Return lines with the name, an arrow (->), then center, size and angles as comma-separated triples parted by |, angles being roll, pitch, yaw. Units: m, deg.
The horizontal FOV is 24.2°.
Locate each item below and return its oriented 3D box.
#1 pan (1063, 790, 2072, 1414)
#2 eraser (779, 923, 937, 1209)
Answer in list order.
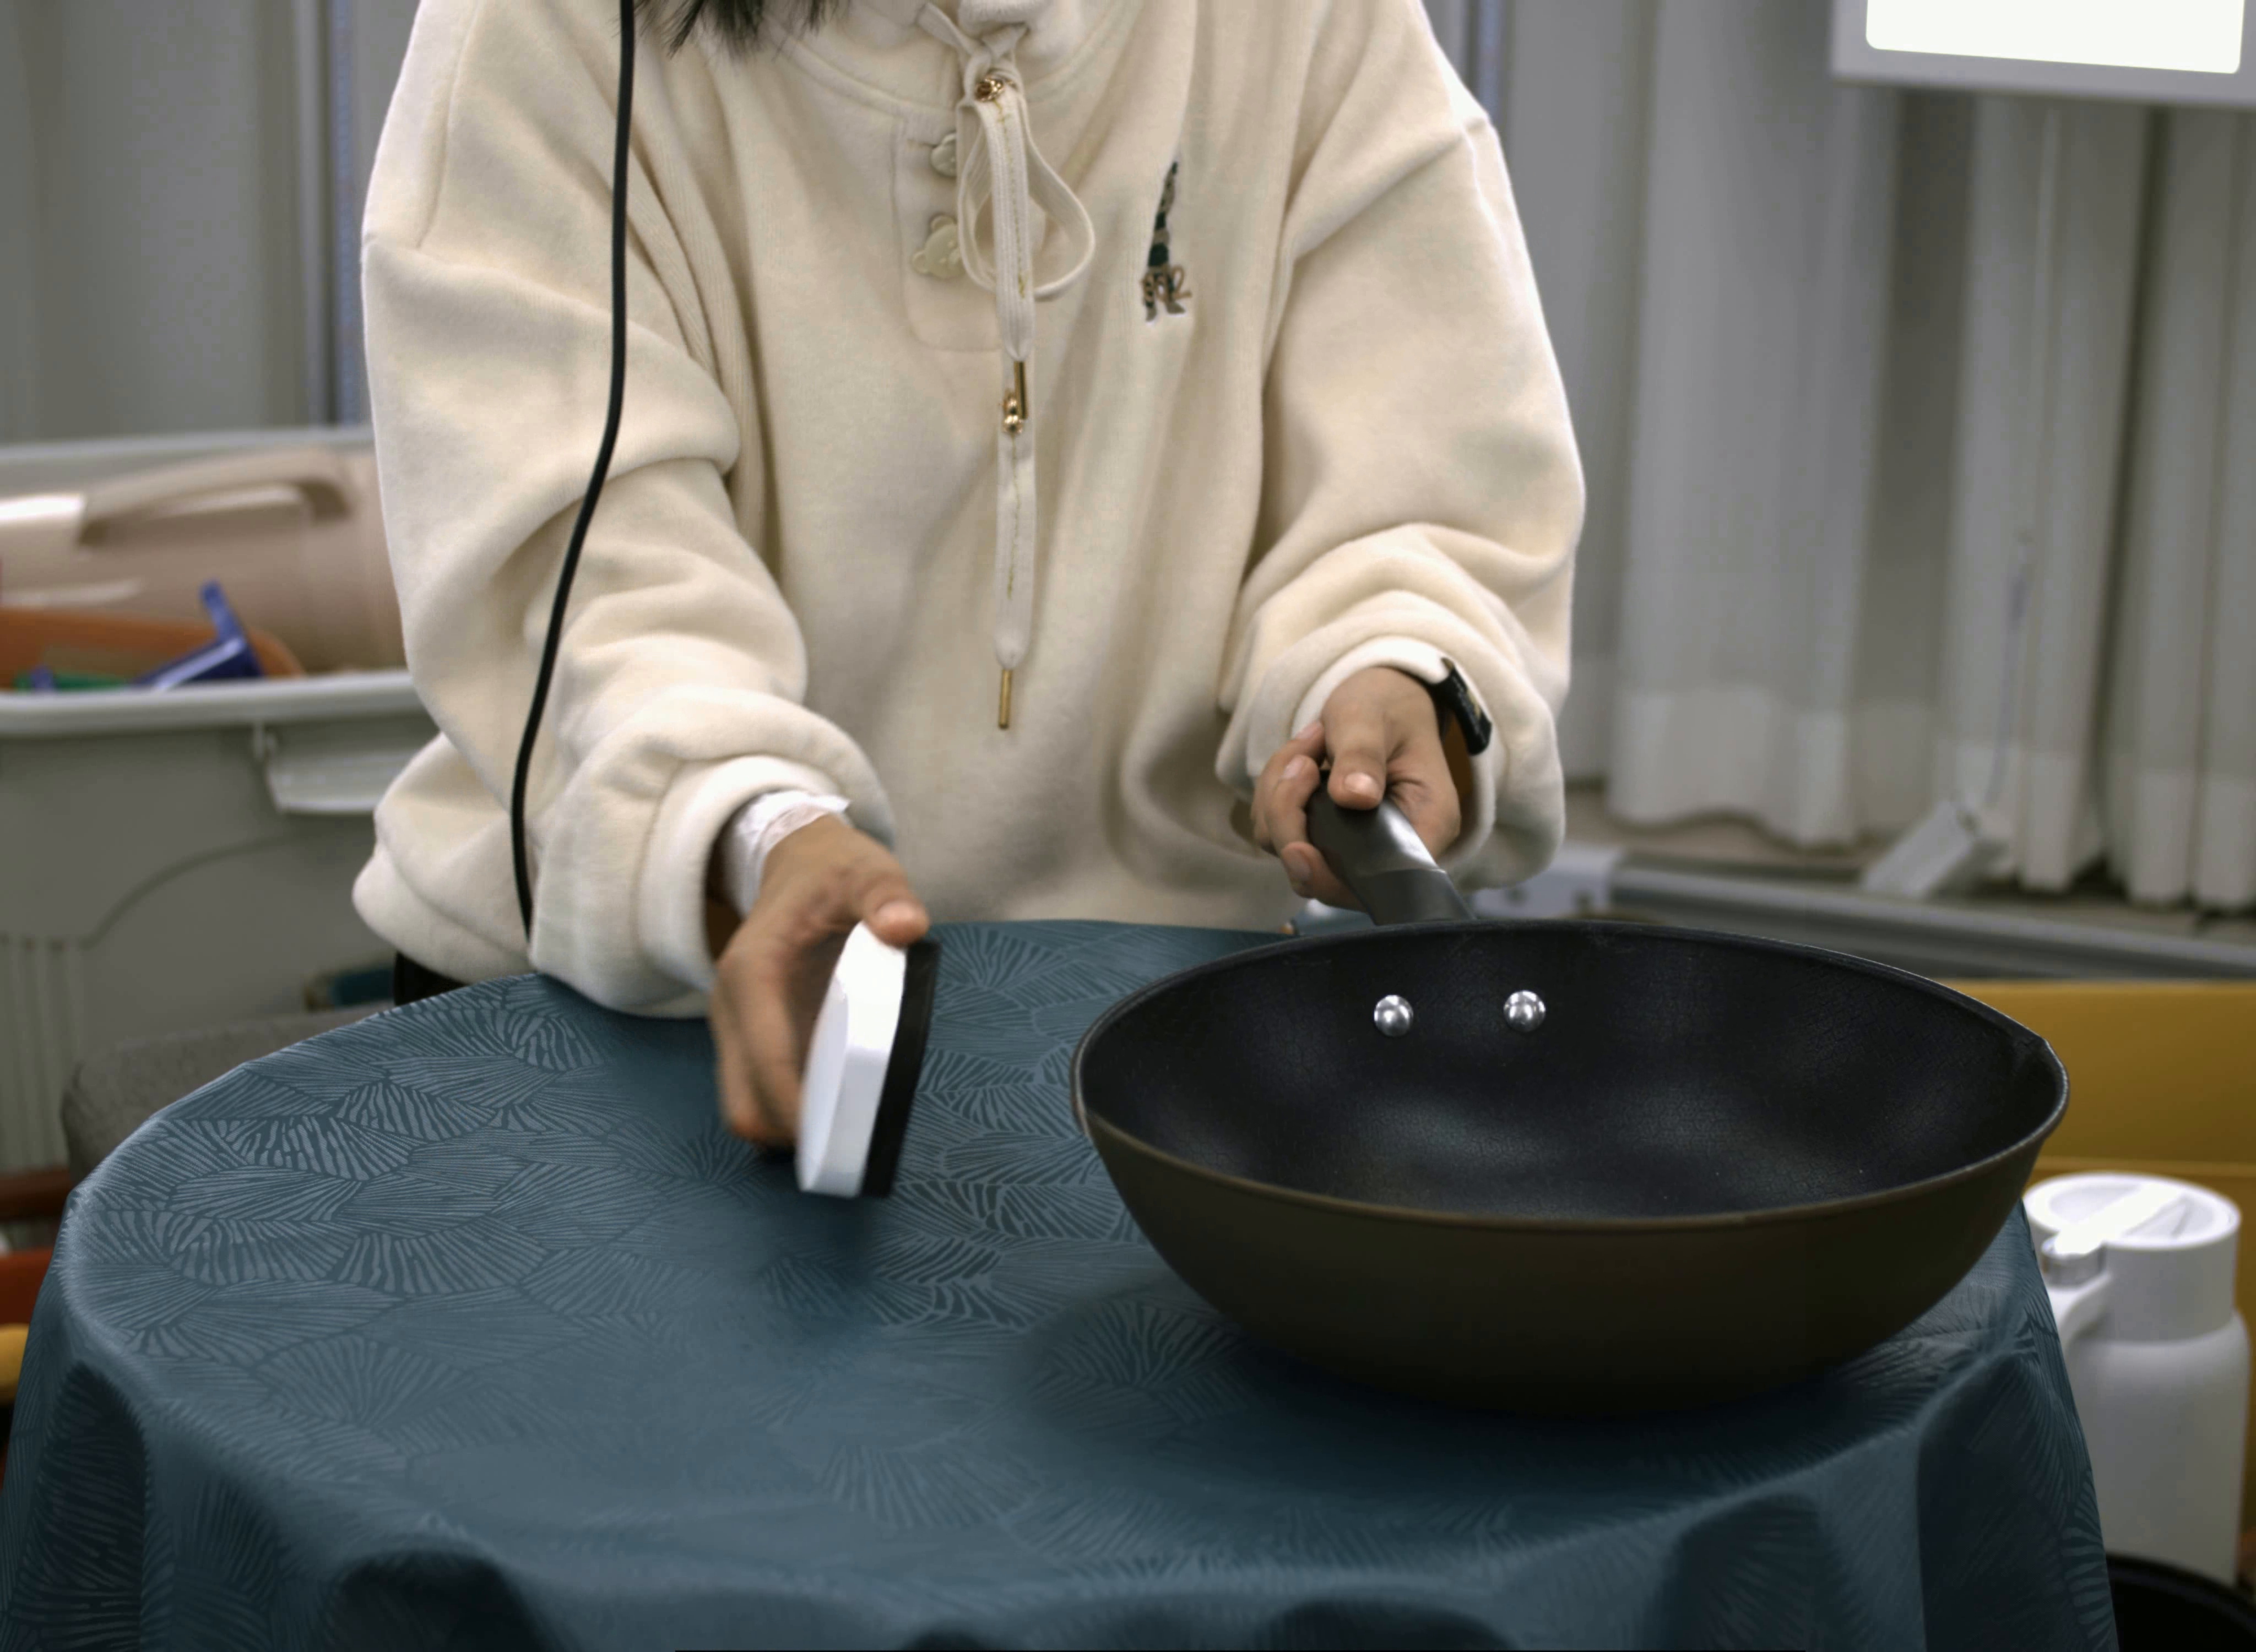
pan -> 0.108, 0.080, 1.586 | 0.288, 0.087, 0.459 | -2, 15, -10
eraser -> -0.081, 0.070, 1.574 | 0.034, 0.064, 0.130 | 19, 11, -6
